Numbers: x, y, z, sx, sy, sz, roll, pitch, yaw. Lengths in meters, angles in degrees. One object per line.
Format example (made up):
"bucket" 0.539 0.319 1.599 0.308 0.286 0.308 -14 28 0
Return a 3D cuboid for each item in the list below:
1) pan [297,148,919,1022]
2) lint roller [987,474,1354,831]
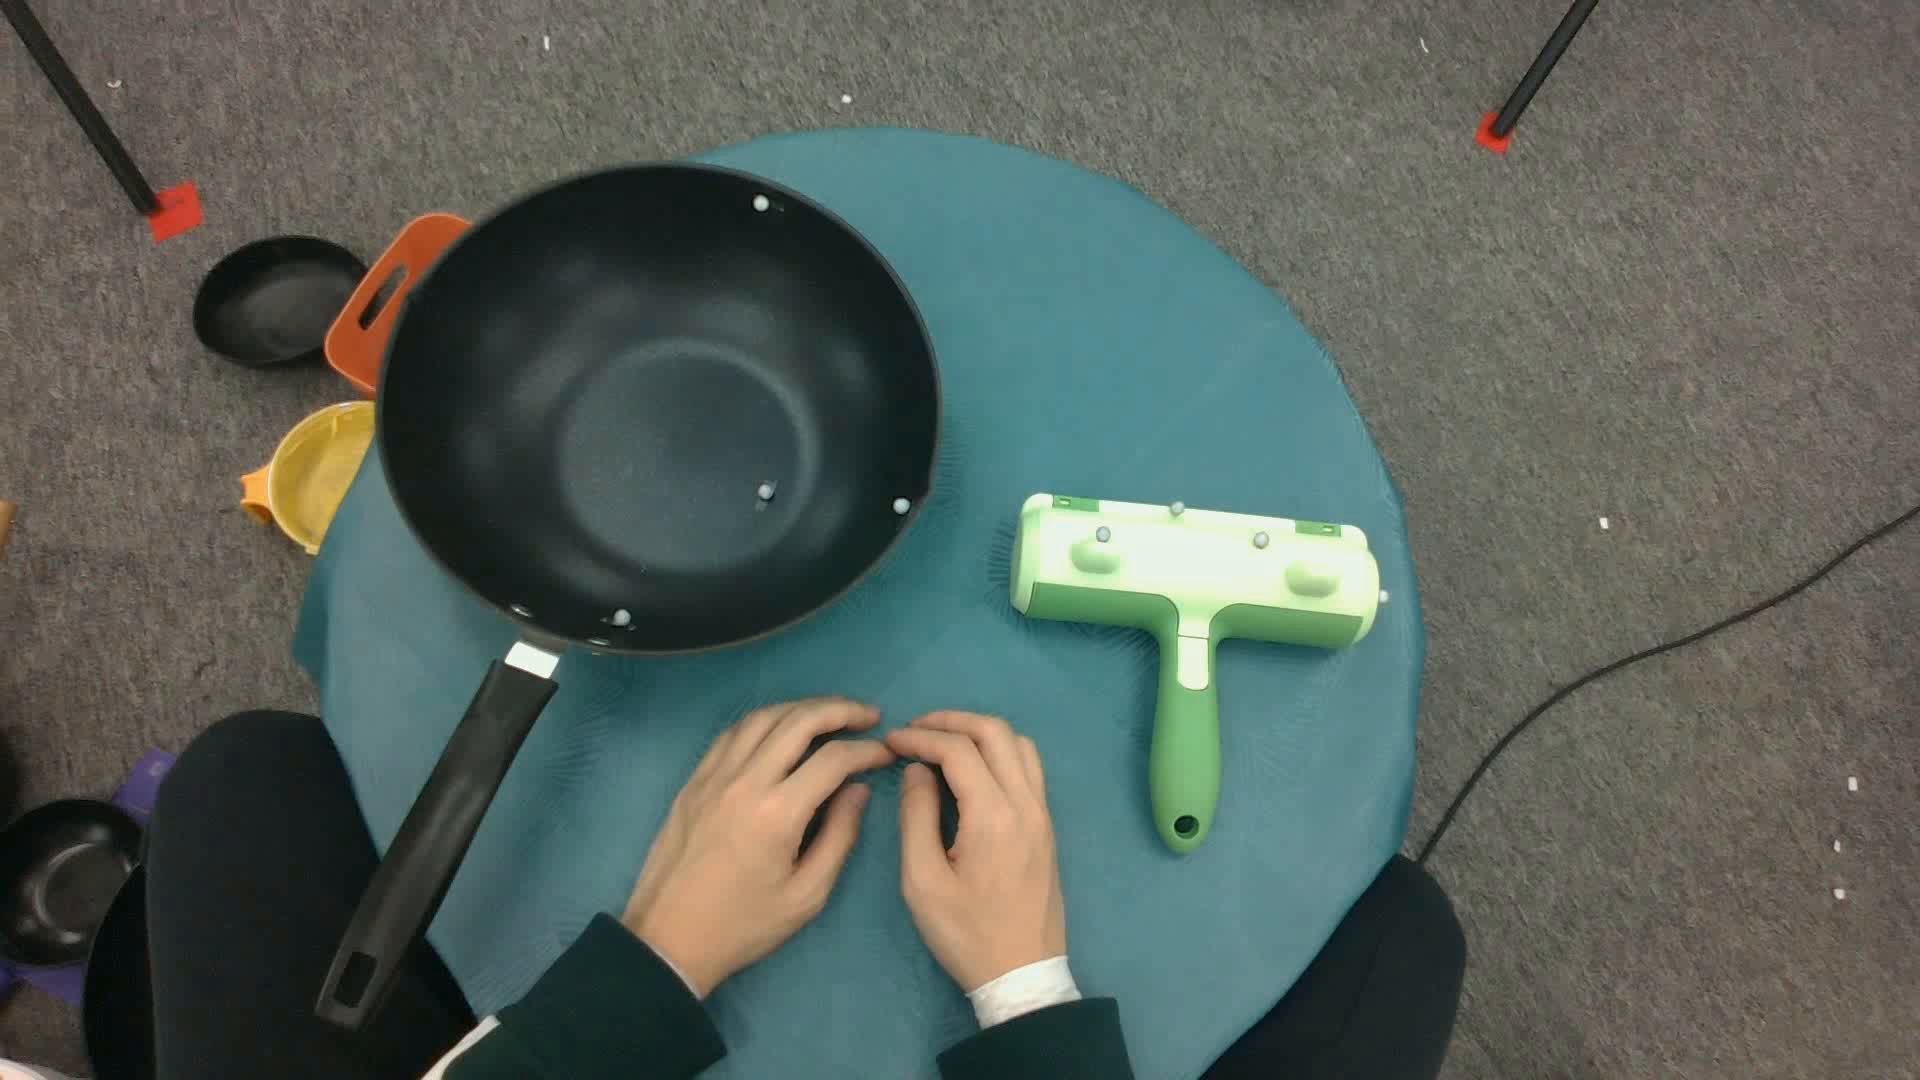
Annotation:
"pan" -0.194 0.012 0.701 0.288 0.086 0.465 19 69 2
"lint roller" 0.113 0.054 0.725 0.198 0.082 0.184 5 64 -5
